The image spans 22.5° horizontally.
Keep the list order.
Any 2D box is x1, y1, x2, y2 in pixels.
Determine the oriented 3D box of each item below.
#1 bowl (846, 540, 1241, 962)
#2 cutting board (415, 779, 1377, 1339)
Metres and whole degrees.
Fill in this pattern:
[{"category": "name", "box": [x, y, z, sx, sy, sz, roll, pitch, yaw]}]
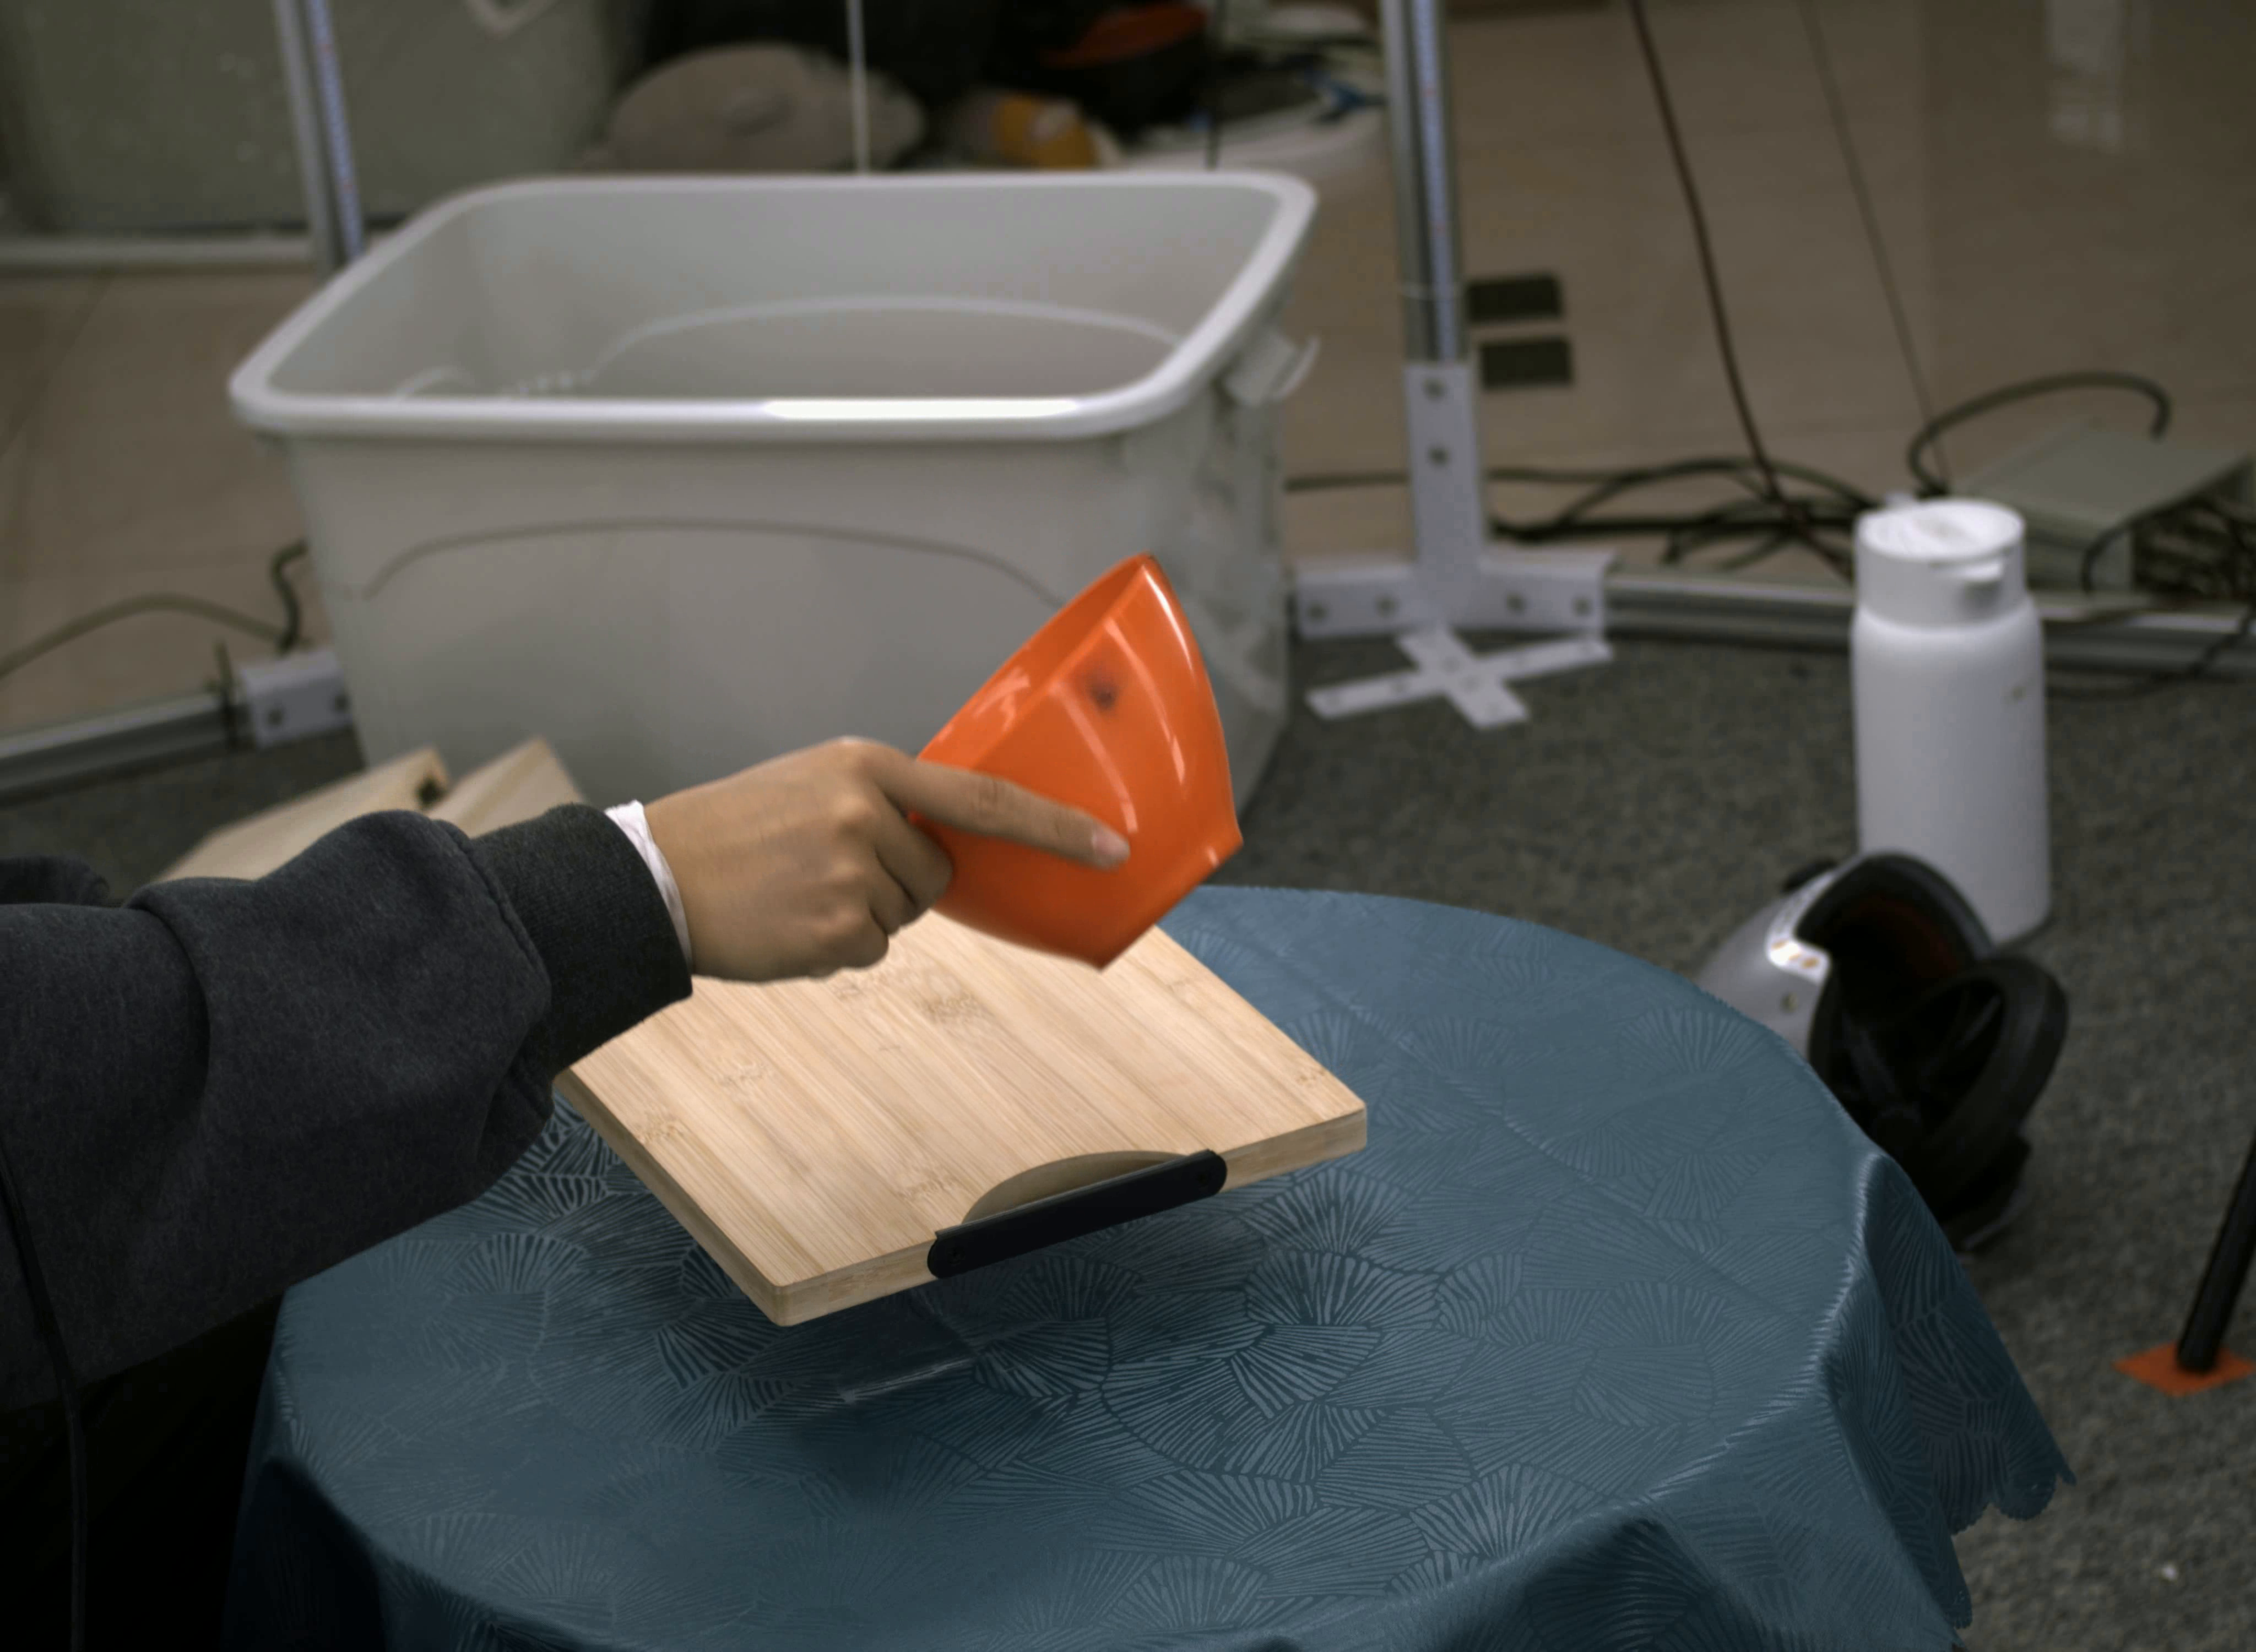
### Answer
[{"category": "bowl", "box": [-0.017, -0.016, 1.933, 0.148, 0.104, 0.148, -42, -2, -1]}, {"category": "cutting board", "box": [-0.095, 0.076, 2.140, 0.249, 0.024, 0.344, -16, 31, -24]}]
